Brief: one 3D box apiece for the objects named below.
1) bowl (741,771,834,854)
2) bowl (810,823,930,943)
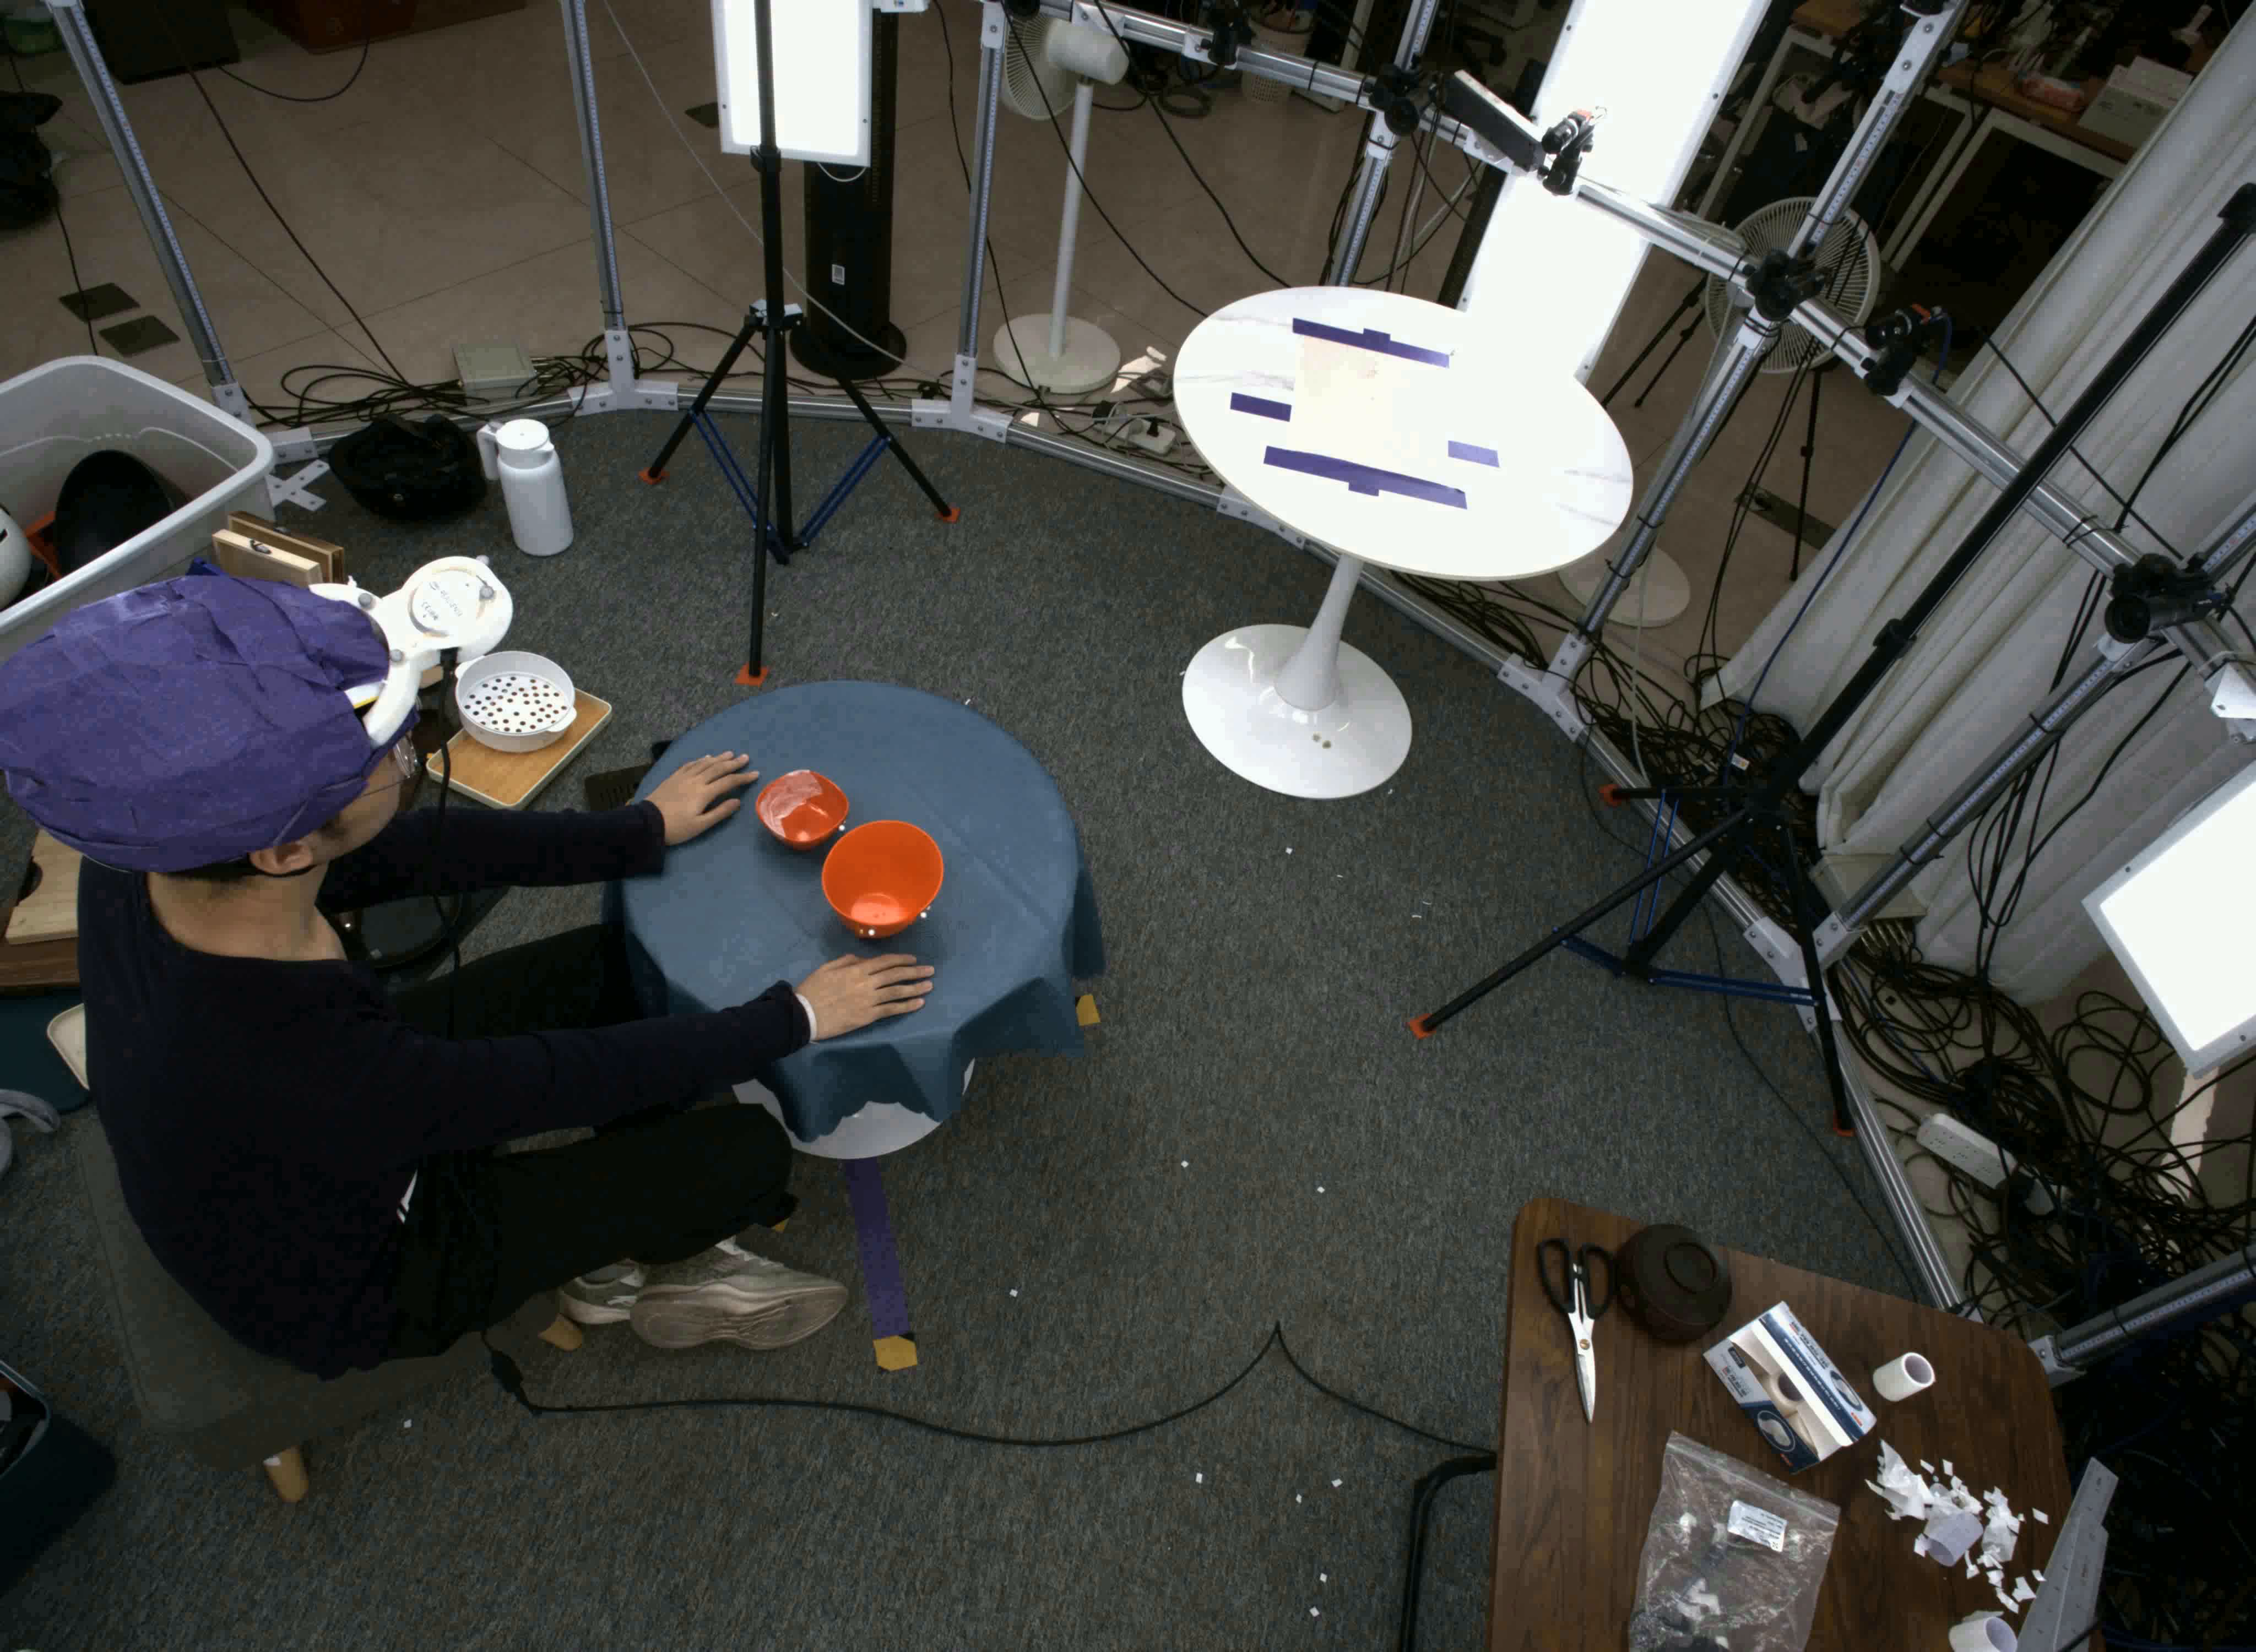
[{"bbox_3d":[-0.447,-0.010,1.704,0.119,0.052,0.117,8,53,-9],"label":"bowl"},{"bbox_3d":[-0.324,0.083,1.633,0.148,0.107,0.145,8,52,-8],"label":"bowl"}]
